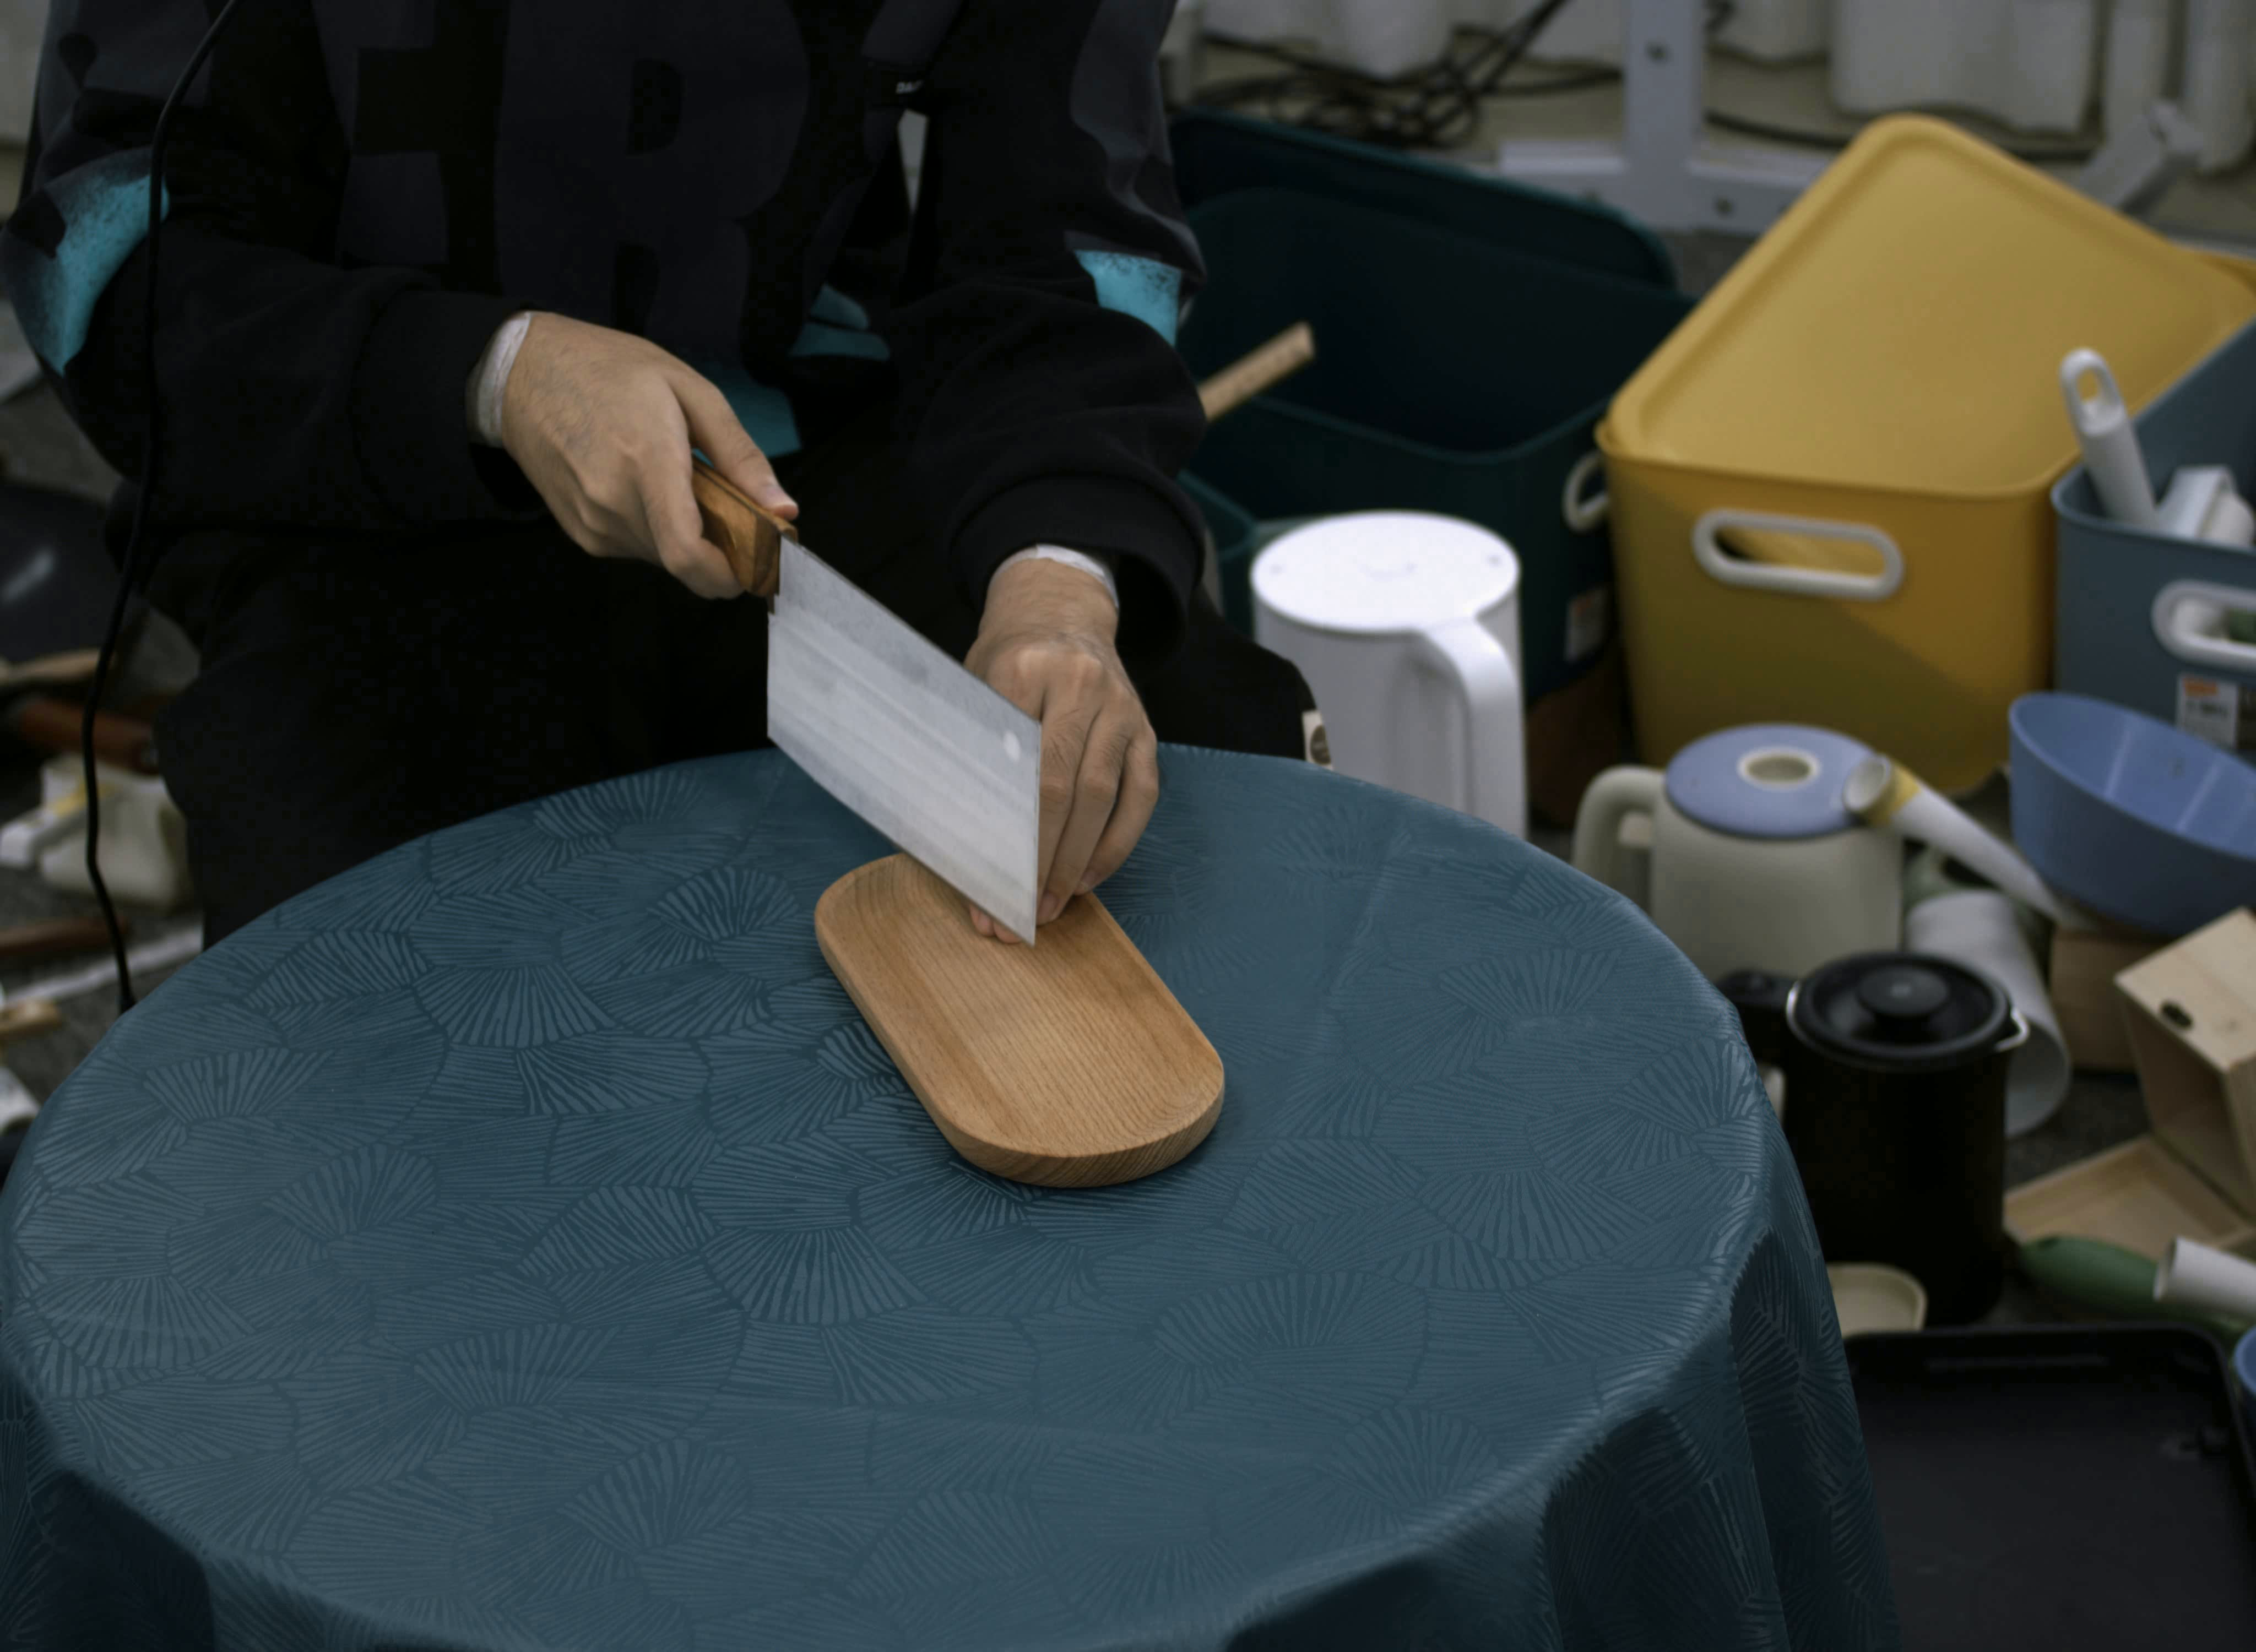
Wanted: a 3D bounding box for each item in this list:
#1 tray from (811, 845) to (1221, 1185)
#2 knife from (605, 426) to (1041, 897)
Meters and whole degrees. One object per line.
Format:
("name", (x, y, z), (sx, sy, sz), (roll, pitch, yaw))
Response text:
("tray", (-0.041, 0.063, 1.960), (0.102, 0.020, 0.233), (-10, 27, -17))
("knife", (-0.113, -0.059, 2.061), (0.021, 0.092, 0.307), (-14, 31, -29))
